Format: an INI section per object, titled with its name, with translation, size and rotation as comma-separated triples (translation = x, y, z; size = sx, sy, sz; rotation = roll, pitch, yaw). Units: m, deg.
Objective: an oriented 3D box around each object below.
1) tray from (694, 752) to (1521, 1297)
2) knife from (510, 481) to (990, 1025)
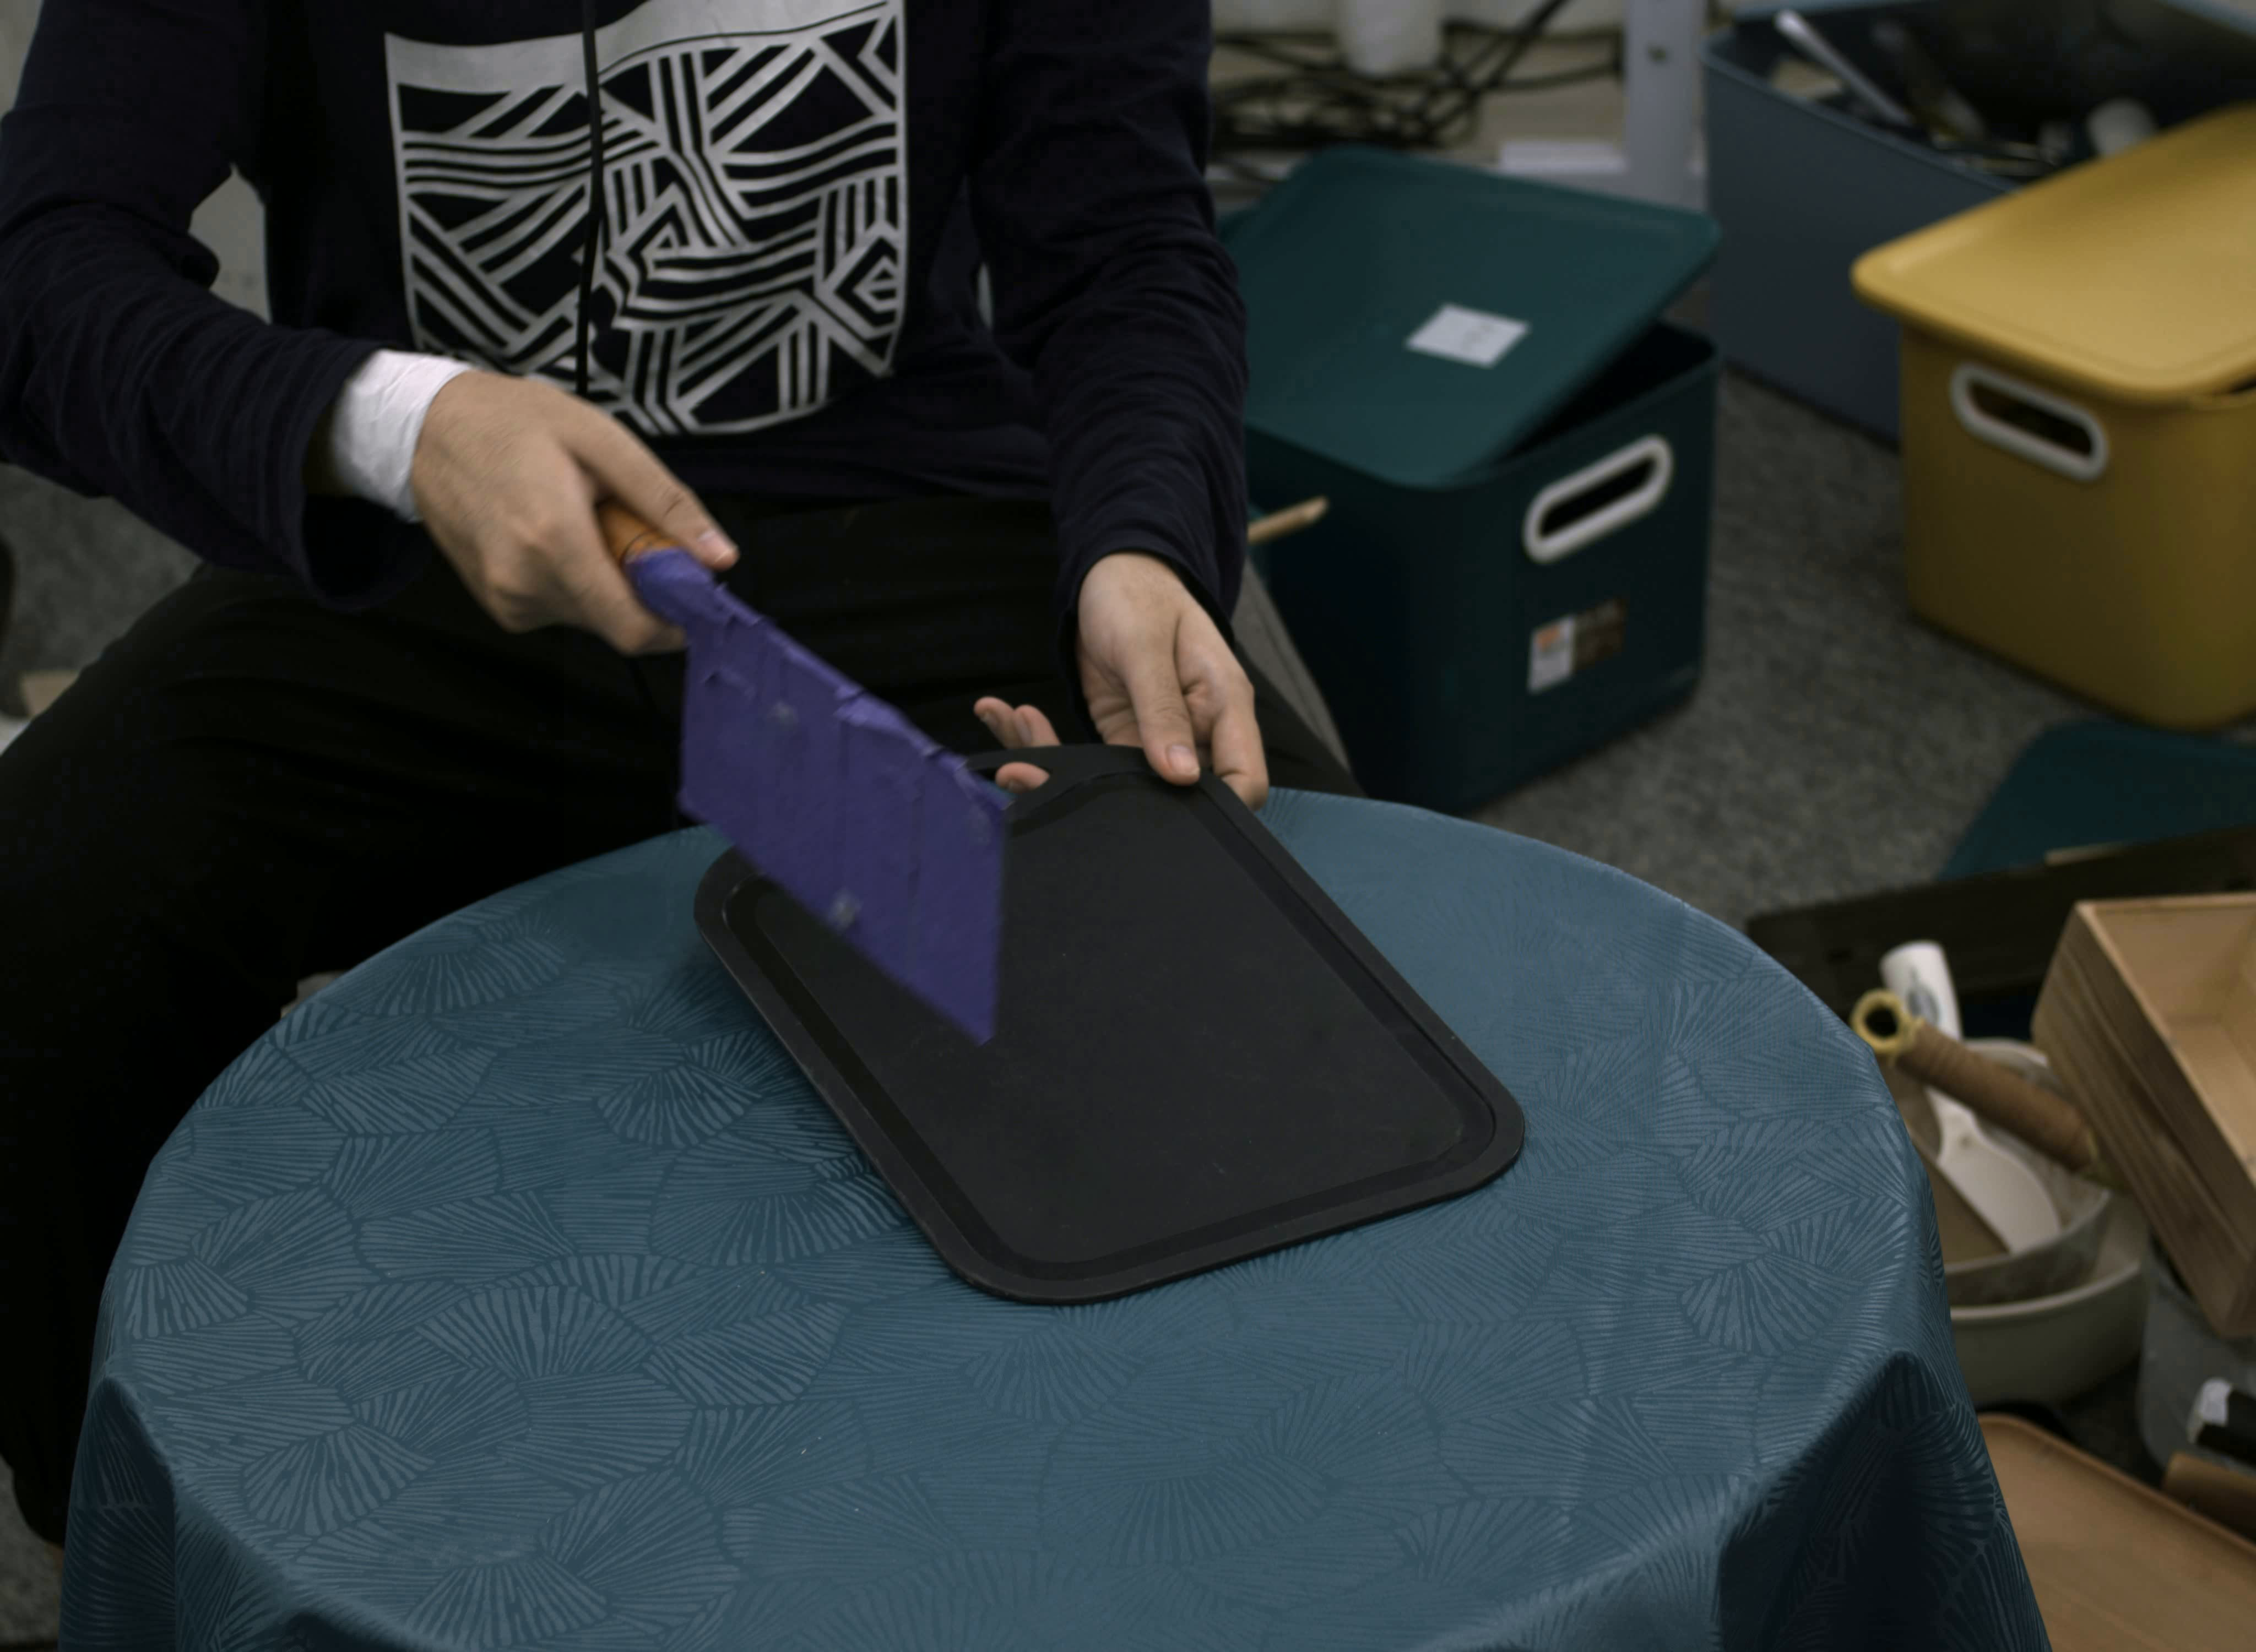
[tray]
translation = -0.017, 0.058, 1.950
size = 0.212, 0.009, 0.328
rotation = -14, 34, -21
[knife]
translation = -0.134, -0.025, 1.923
size = 0.032, 0.103, 0.316
rotation = -5, 25, -31
